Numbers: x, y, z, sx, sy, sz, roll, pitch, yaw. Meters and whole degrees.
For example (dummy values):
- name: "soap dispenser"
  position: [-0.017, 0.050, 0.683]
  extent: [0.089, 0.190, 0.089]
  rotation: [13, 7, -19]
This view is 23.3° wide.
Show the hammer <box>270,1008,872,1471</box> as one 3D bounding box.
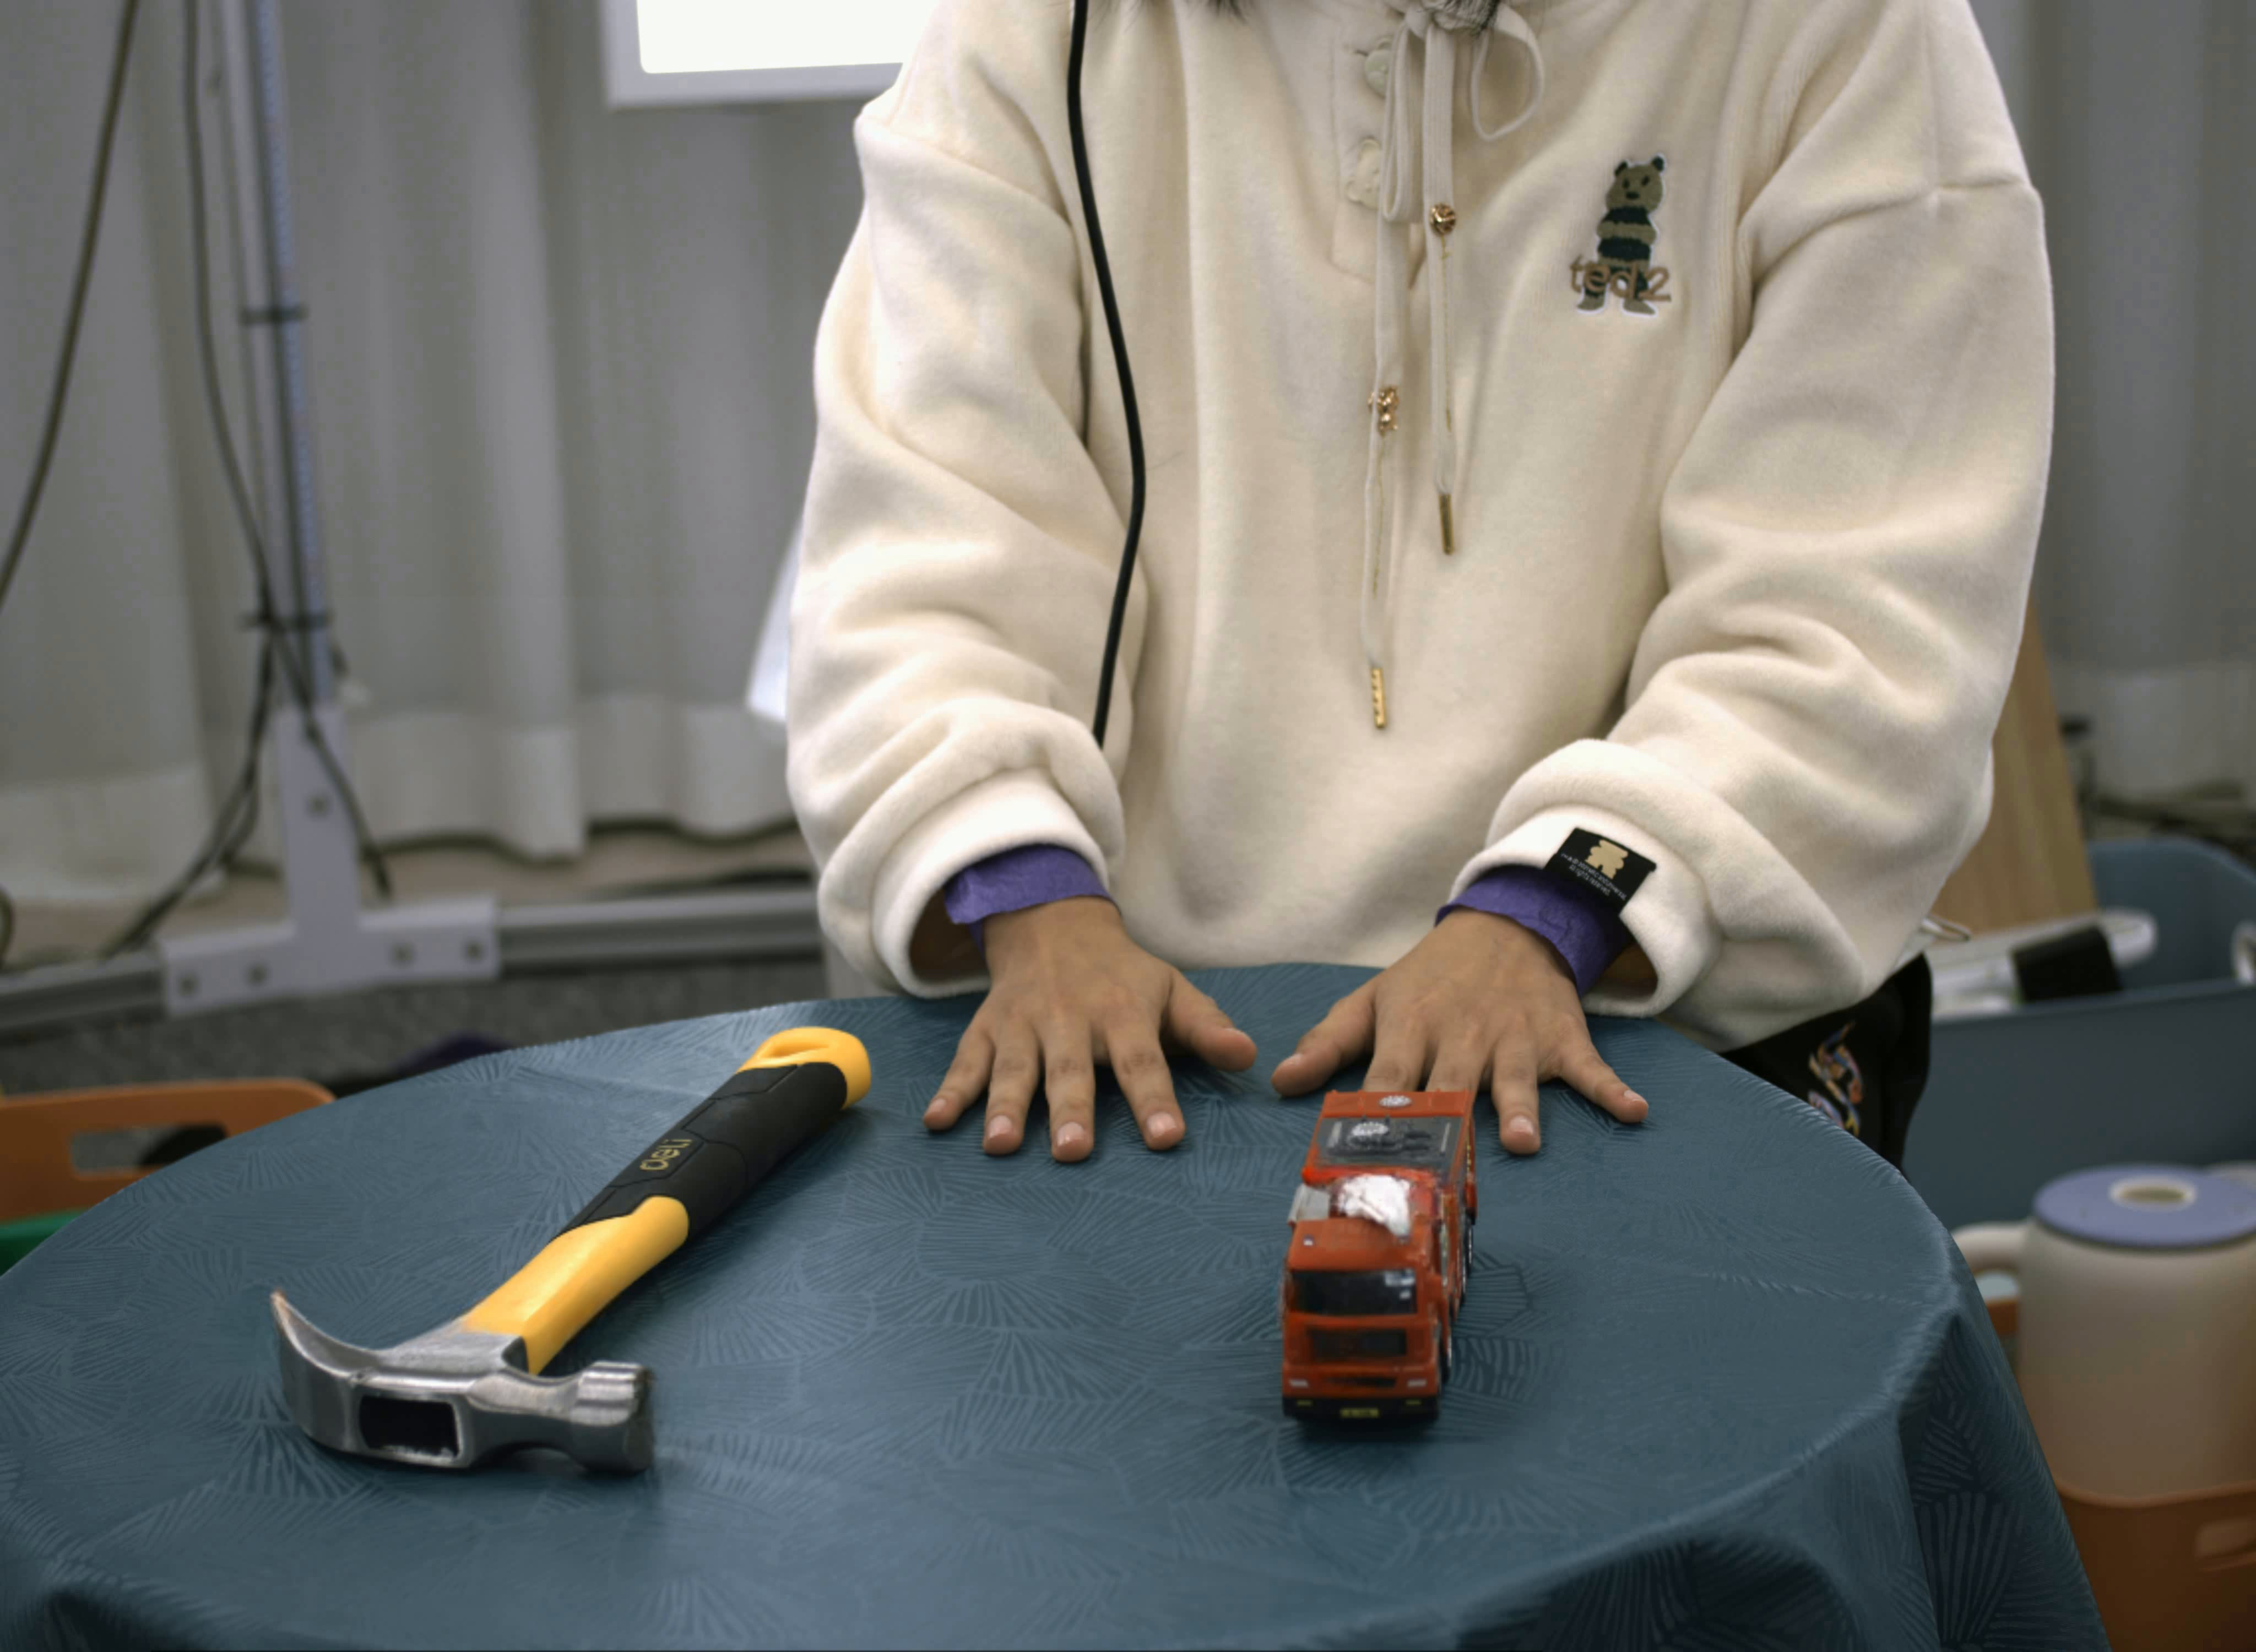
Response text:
- name: "hammer"
  position: [-0.150, 0.118, 1.659]
  extent: [0.131, 0.032, 0.340]
  rotation: [1, 16, 18]

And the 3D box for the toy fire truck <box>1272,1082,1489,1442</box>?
- name: "toy fire truck"
  position: [0.073, 0.121, 1.561]
  extent: [0.054, 0.070, 0.169]
  rotation: [-1, 14, 7]
